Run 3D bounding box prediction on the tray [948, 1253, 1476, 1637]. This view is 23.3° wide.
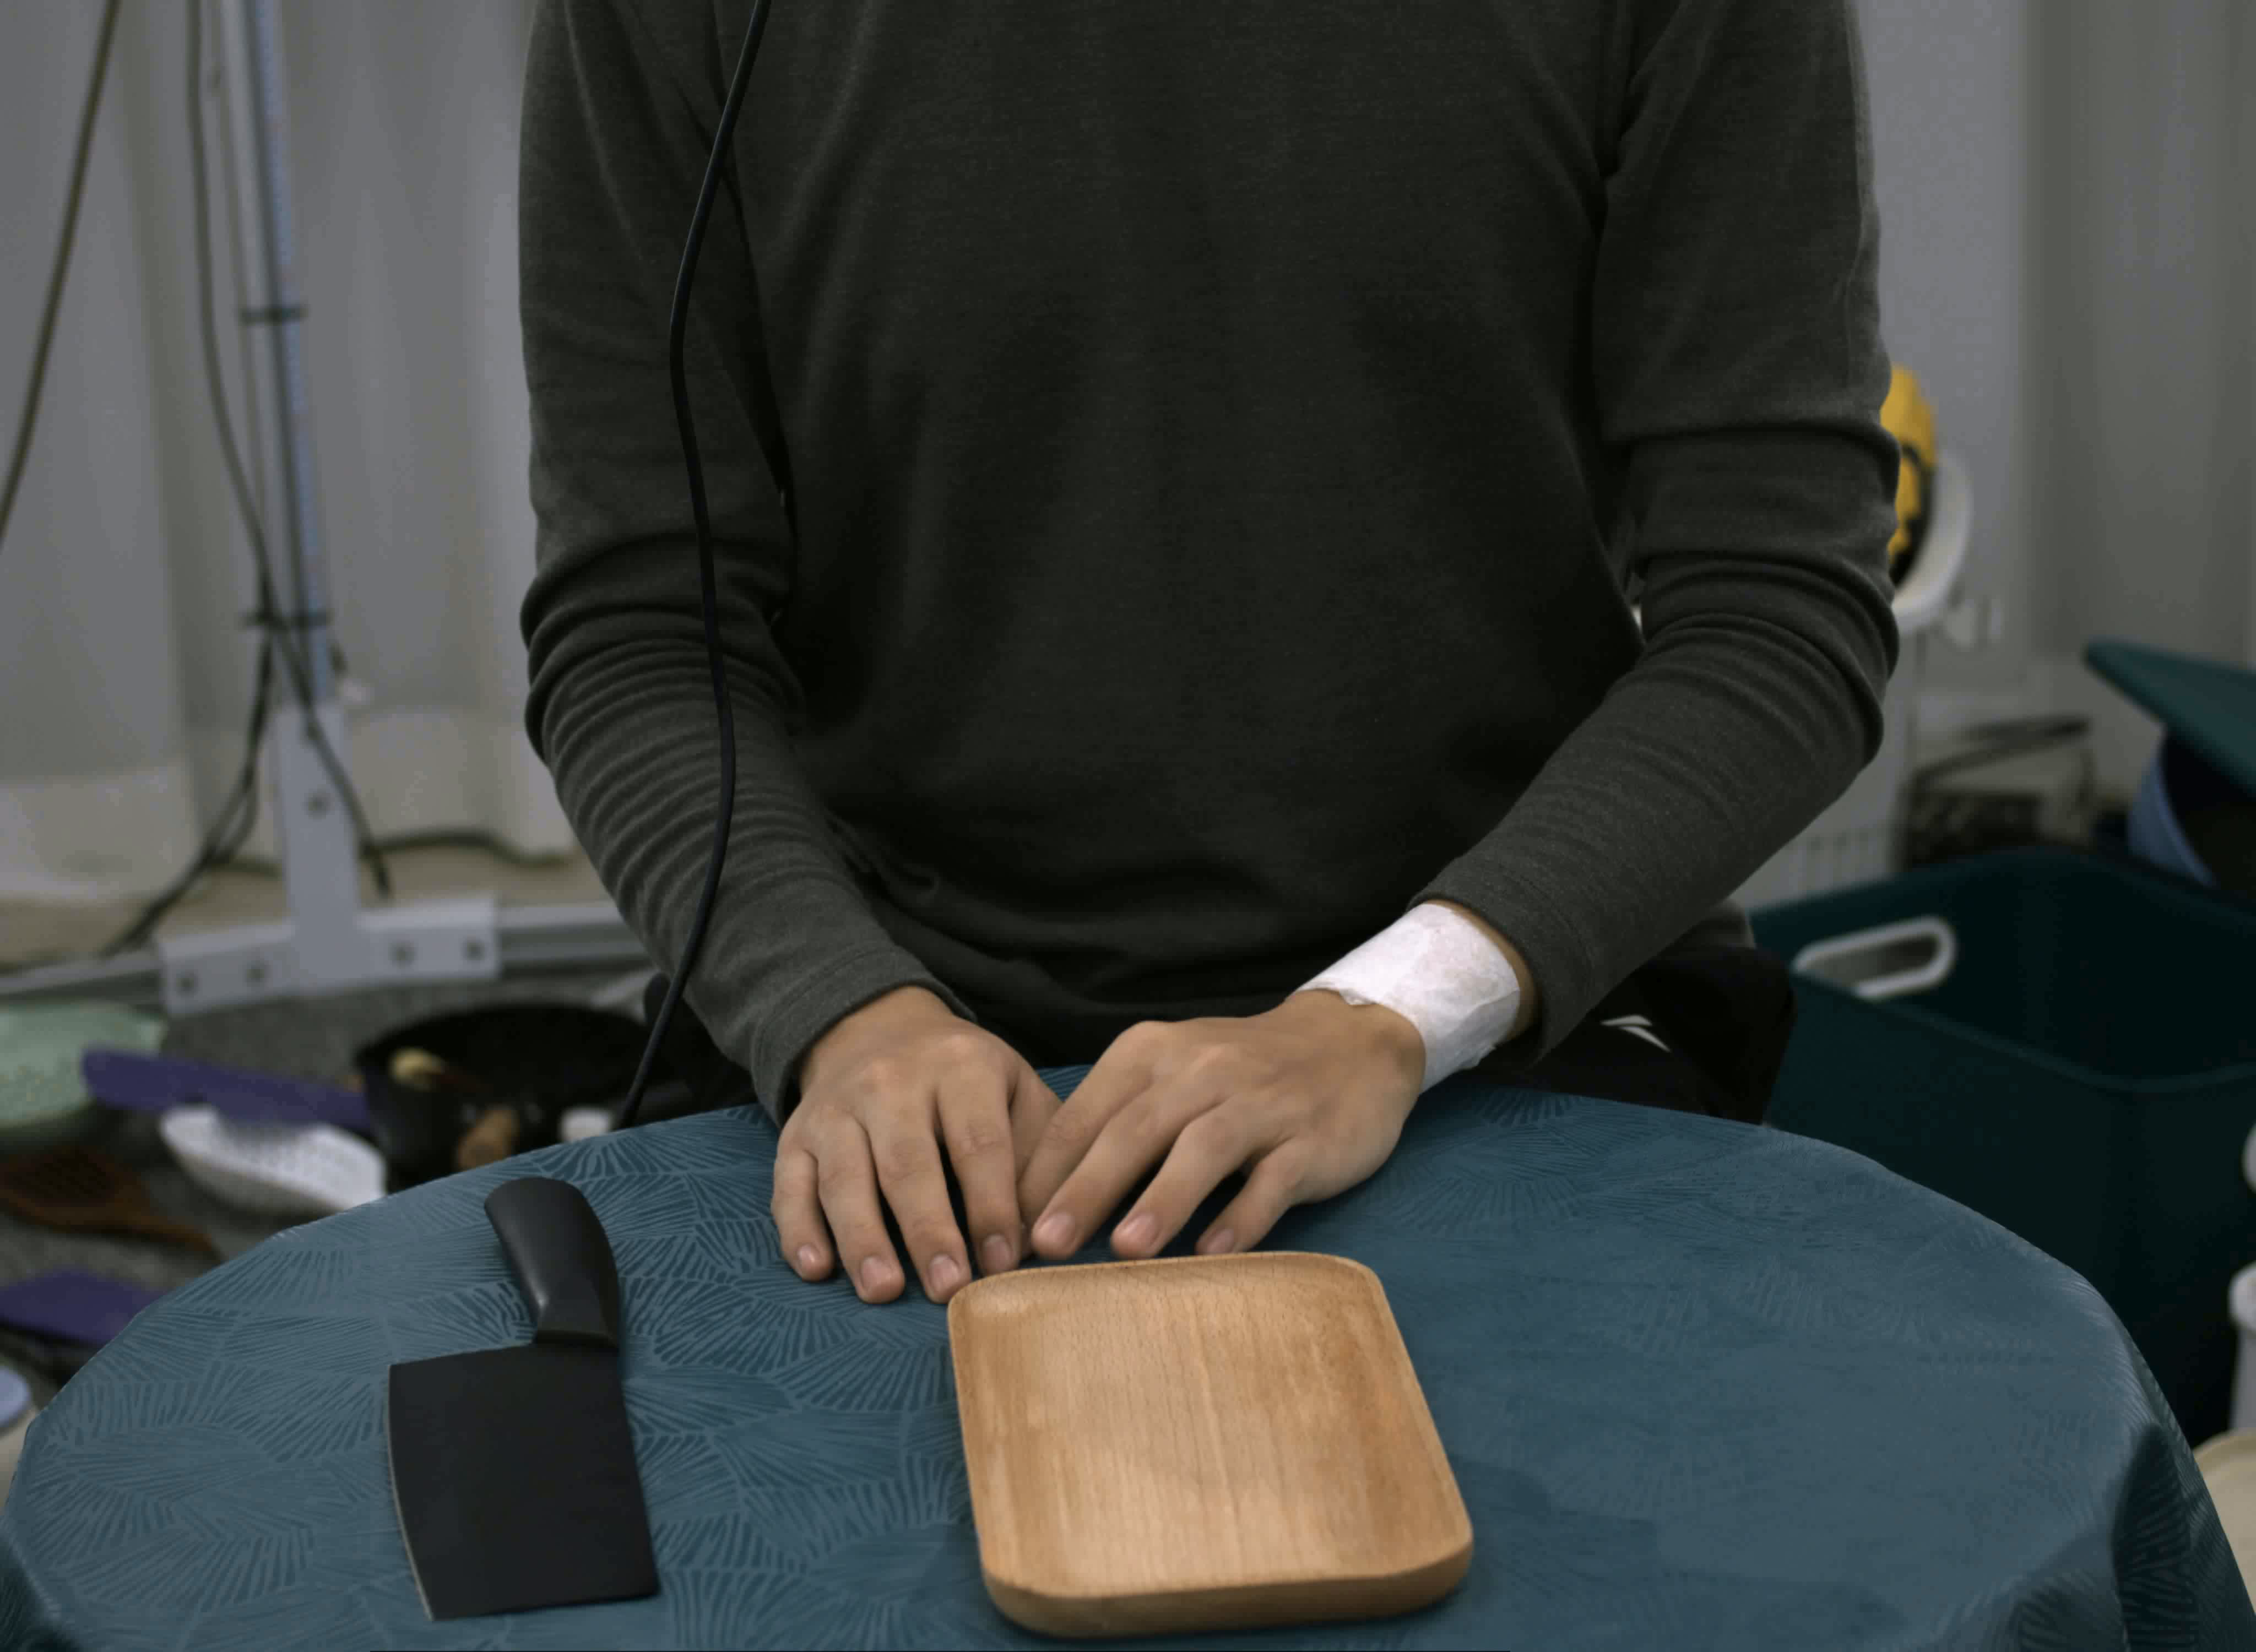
[{"bbox_3d":[0.018,0.166,1.491,0.130,0.023,0.252,-1,14,-3],"label":"tray"}]

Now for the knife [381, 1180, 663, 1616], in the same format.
[{"bbox_3d":[-0.173,0.160,1.553,0.080,0.021,0.305,-5,17,-4],"label":"knife"}]
